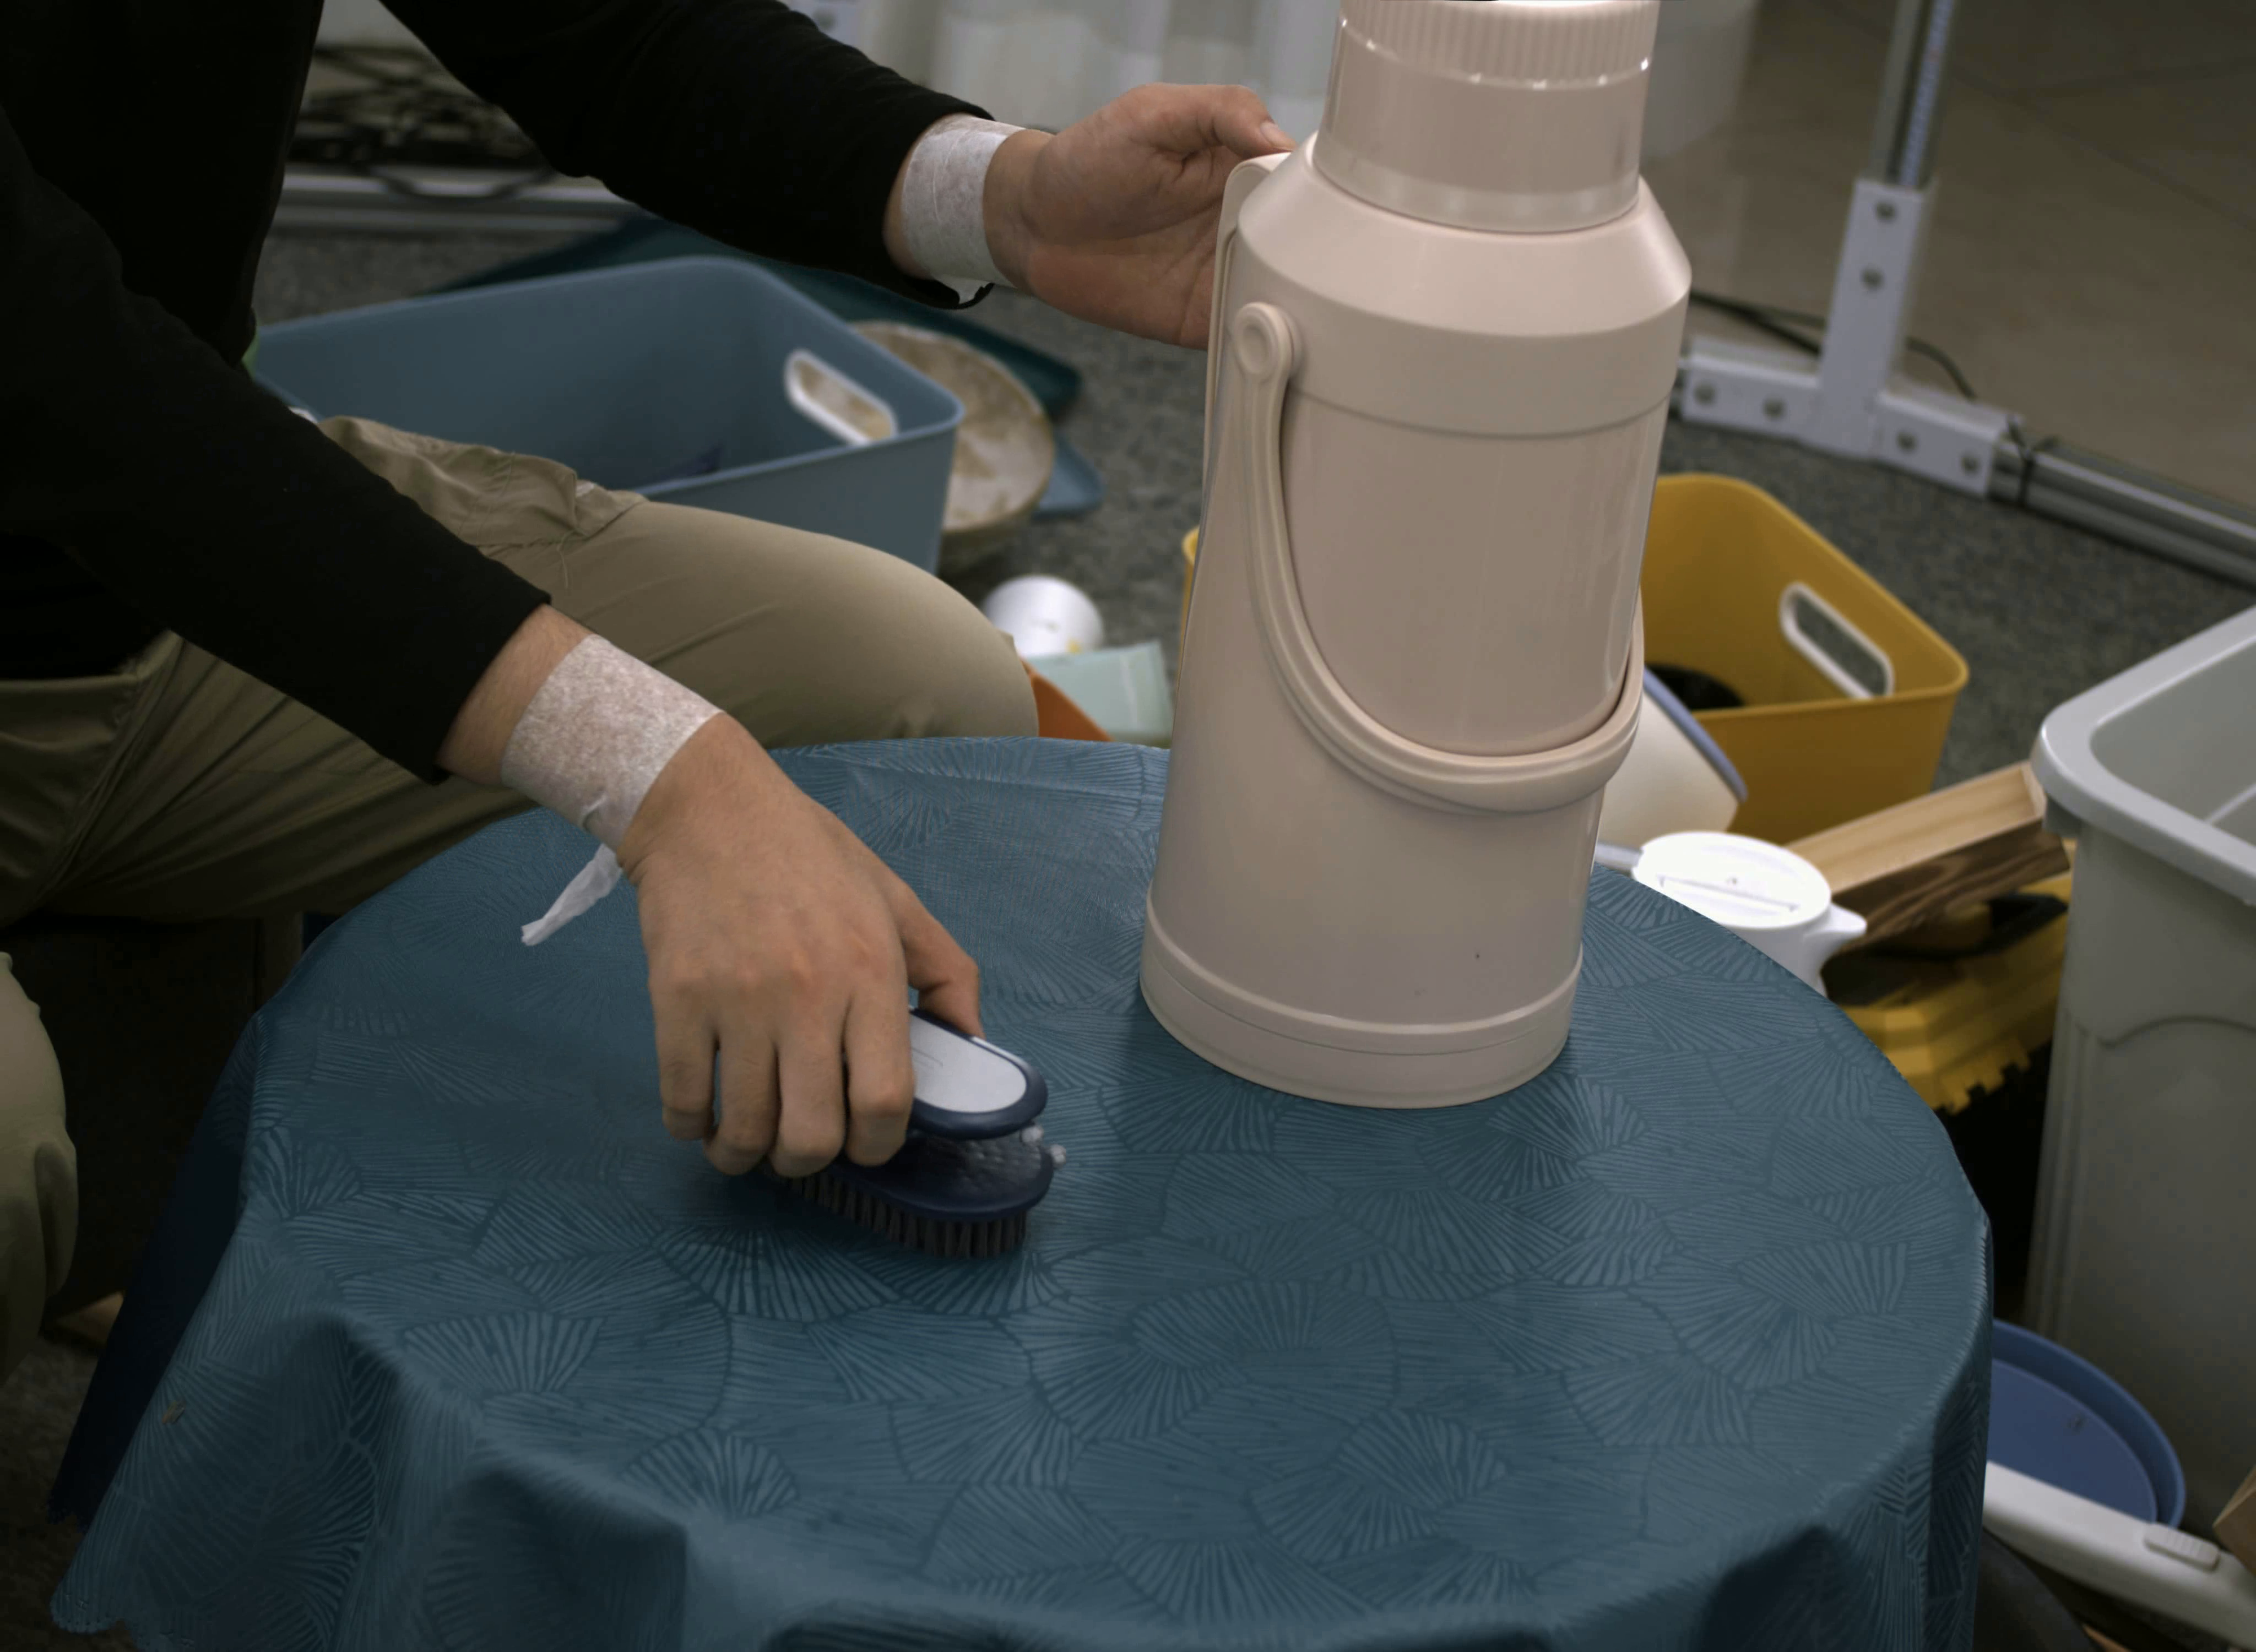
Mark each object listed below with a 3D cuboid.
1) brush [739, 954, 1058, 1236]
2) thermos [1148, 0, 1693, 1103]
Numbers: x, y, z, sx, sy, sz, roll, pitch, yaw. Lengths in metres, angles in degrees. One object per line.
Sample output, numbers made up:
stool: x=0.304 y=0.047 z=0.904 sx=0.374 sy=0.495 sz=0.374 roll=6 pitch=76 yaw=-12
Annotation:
brush: x=-0.077 y=0.091 z=1.774 sx=0.122 sy=0.061 sz=0.067 roll=26 pitch=34 yaw=35
thermos: x=0.098 y=-0.119 z=1.864 sx=0.174 sy=0.405 sz=0.209 roll=-15 pitch=34 yaw=-34
